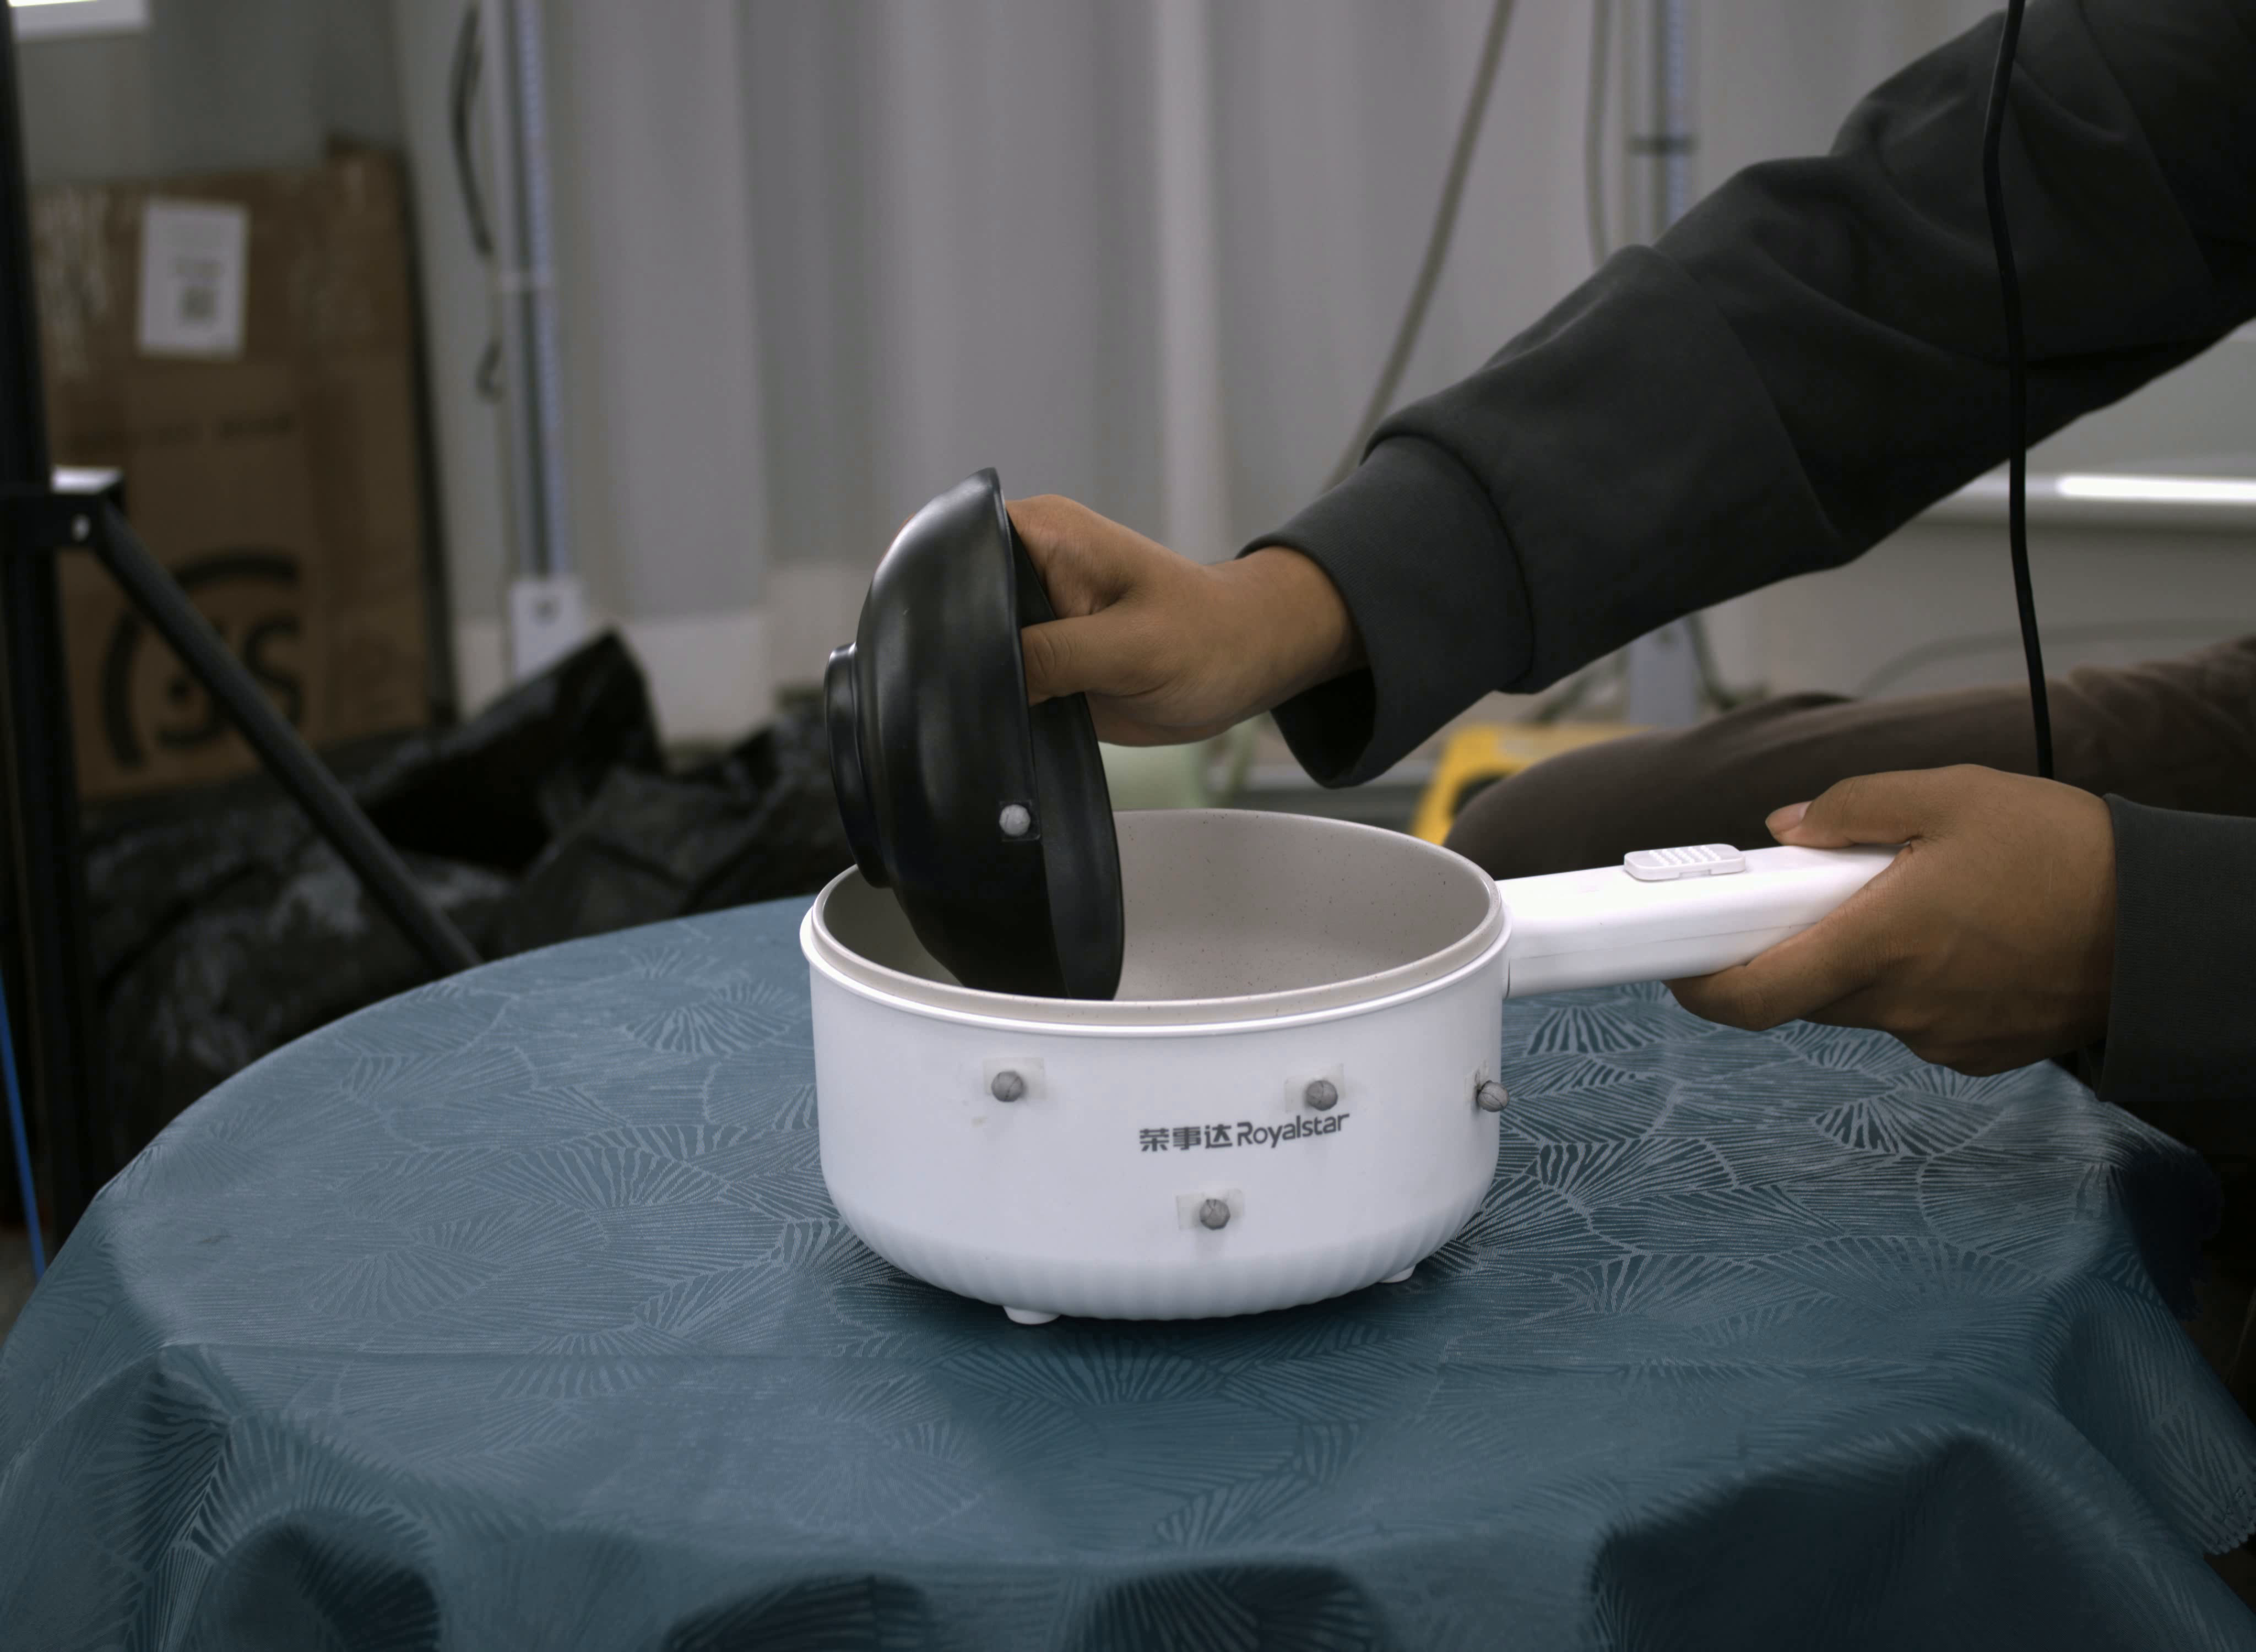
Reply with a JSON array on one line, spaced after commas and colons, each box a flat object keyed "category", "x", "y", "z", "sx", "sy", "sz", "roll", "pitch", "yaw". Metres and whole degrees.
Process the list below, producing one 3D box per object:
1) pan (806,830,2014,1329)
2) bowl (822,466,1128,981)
[{"category": "pan", "x": 0.083, "y": 0.068, "z": 1.524, "sx": 0.349, "sy": 0.102, "sz": 0.204, "roll": -4, "pitch": 14, "yaw": -14}, {"category": "bowl", "x": -0.047, "y": -0.021, "z": 1.502, "sx": 0.067, "sy": 0.135, "sz": 0.172, "roll": -11, "pitch": 59, "yaw": 7}]
